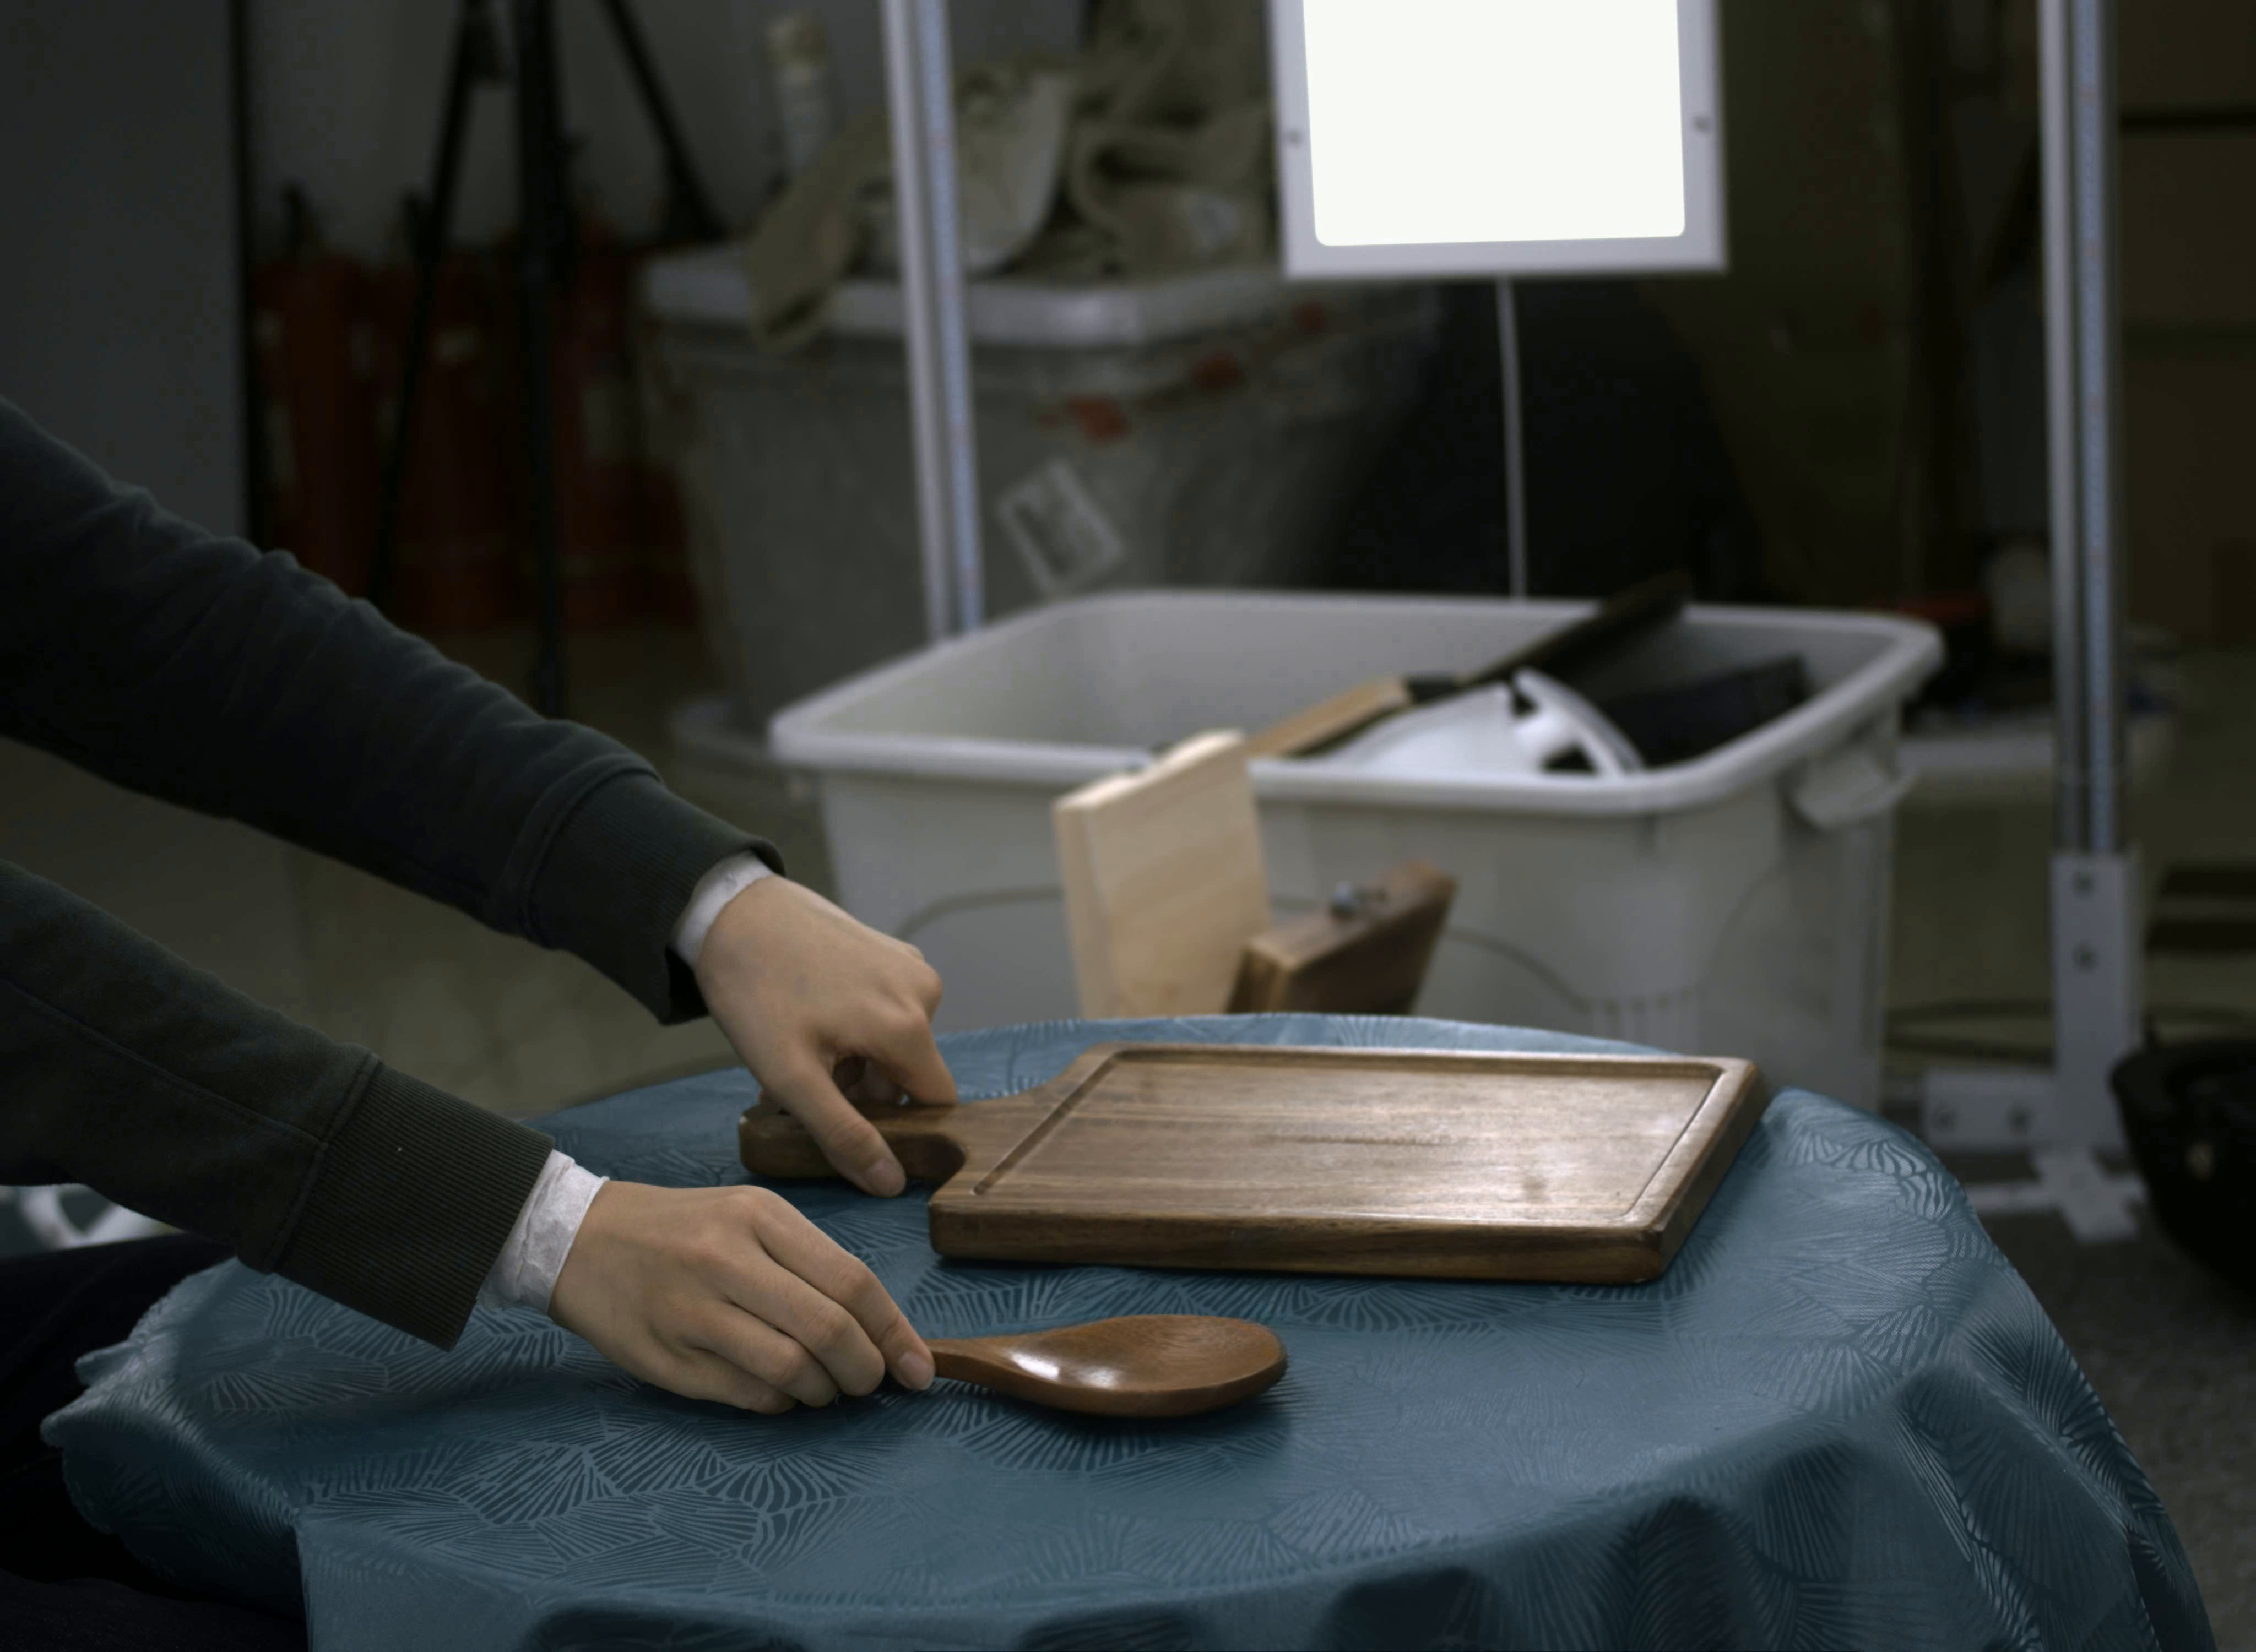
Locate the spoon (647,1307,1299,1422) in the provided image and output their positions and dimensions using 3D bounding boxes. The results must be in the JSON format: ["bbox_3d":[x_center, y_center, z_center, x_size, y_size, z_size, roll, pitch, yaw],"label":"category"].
[{"bbox_3d":[-0.050,0.166,1.716,0.219,0.017,0.074,2,17,22],"label":"spoon"}]

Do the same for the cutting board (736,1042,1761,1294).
[{"bbox_3d":[0.031,0.113,1.896,0.356,0.023,0.198,0,16,19],"label":"cutting board"}]
